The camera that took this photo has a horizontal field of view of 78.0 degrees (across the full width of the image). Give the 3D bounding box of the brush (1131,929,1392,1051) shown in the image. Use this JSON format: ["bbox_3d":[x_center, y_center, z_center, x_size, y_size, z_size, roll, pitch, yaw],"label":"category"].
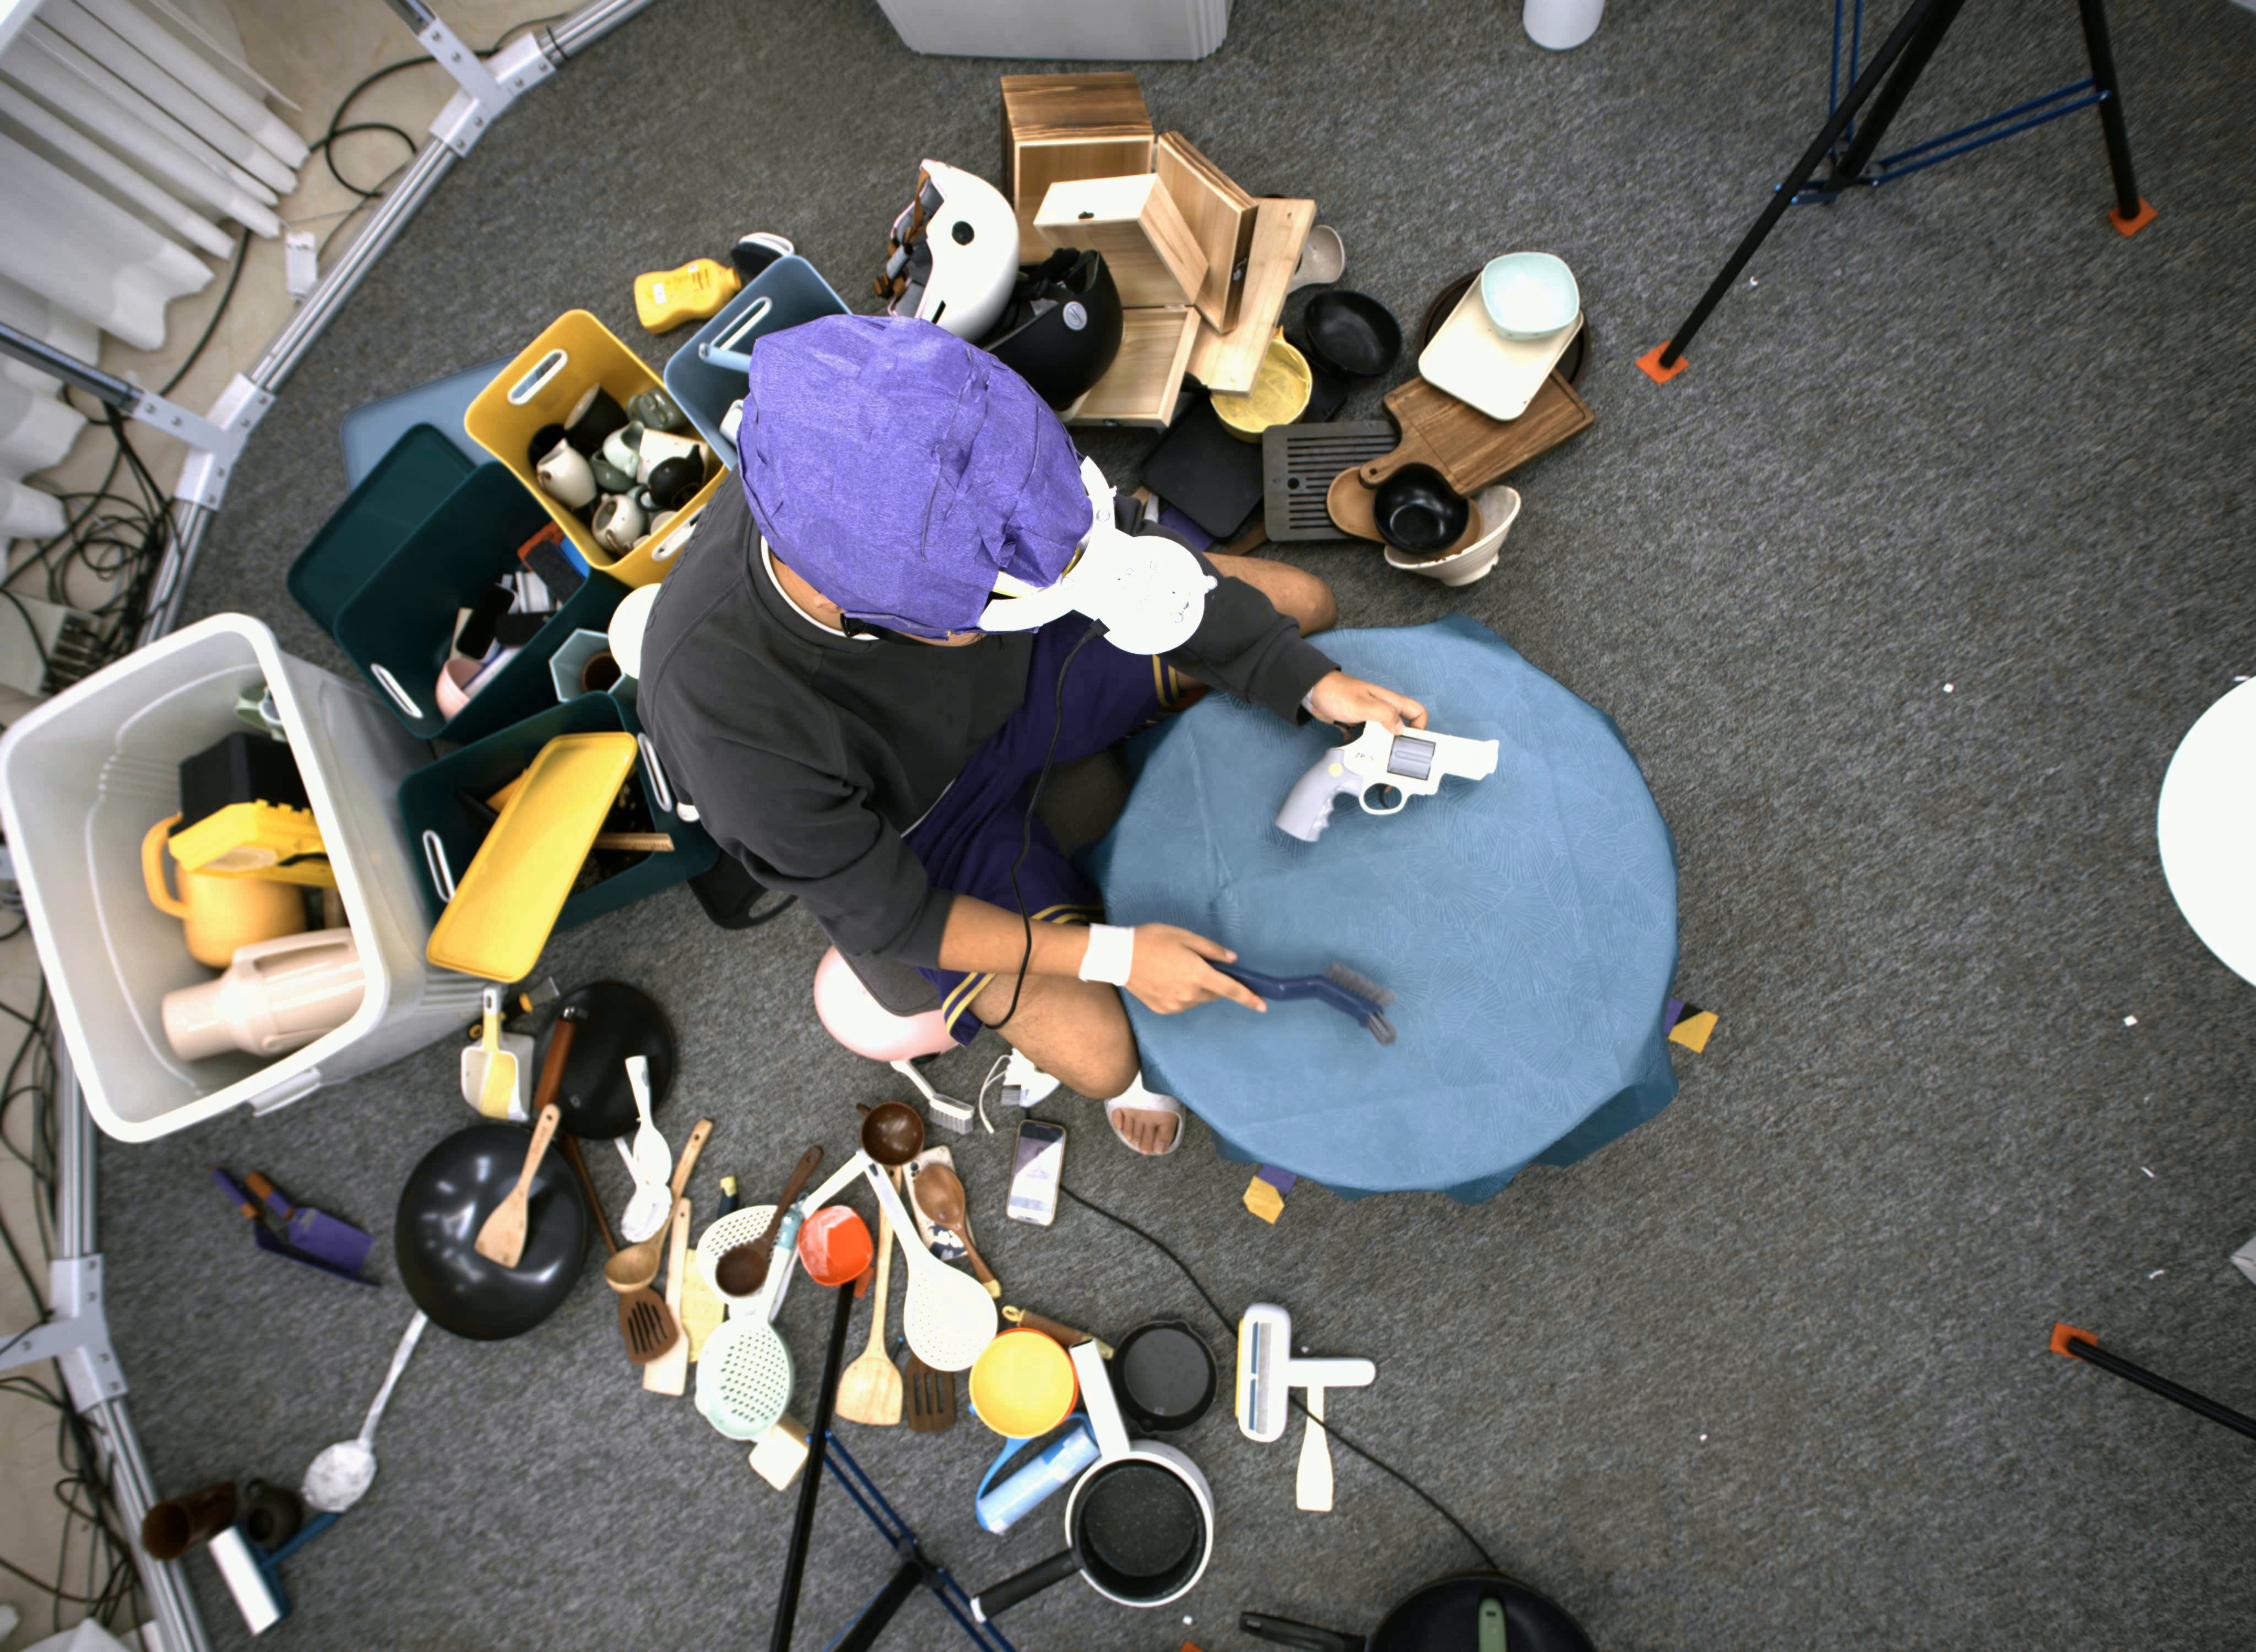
[{"bbox_3d":[0.130,0.160,1.405,0.274,0.034,0.093,9,48,10],"label":"brush"}]

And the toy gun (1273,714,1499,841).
[{"bbox_3d":[0.262,-0.042,1.407,0.209,0.038,0.142,12,95,10],"label":"toy gun"}]
